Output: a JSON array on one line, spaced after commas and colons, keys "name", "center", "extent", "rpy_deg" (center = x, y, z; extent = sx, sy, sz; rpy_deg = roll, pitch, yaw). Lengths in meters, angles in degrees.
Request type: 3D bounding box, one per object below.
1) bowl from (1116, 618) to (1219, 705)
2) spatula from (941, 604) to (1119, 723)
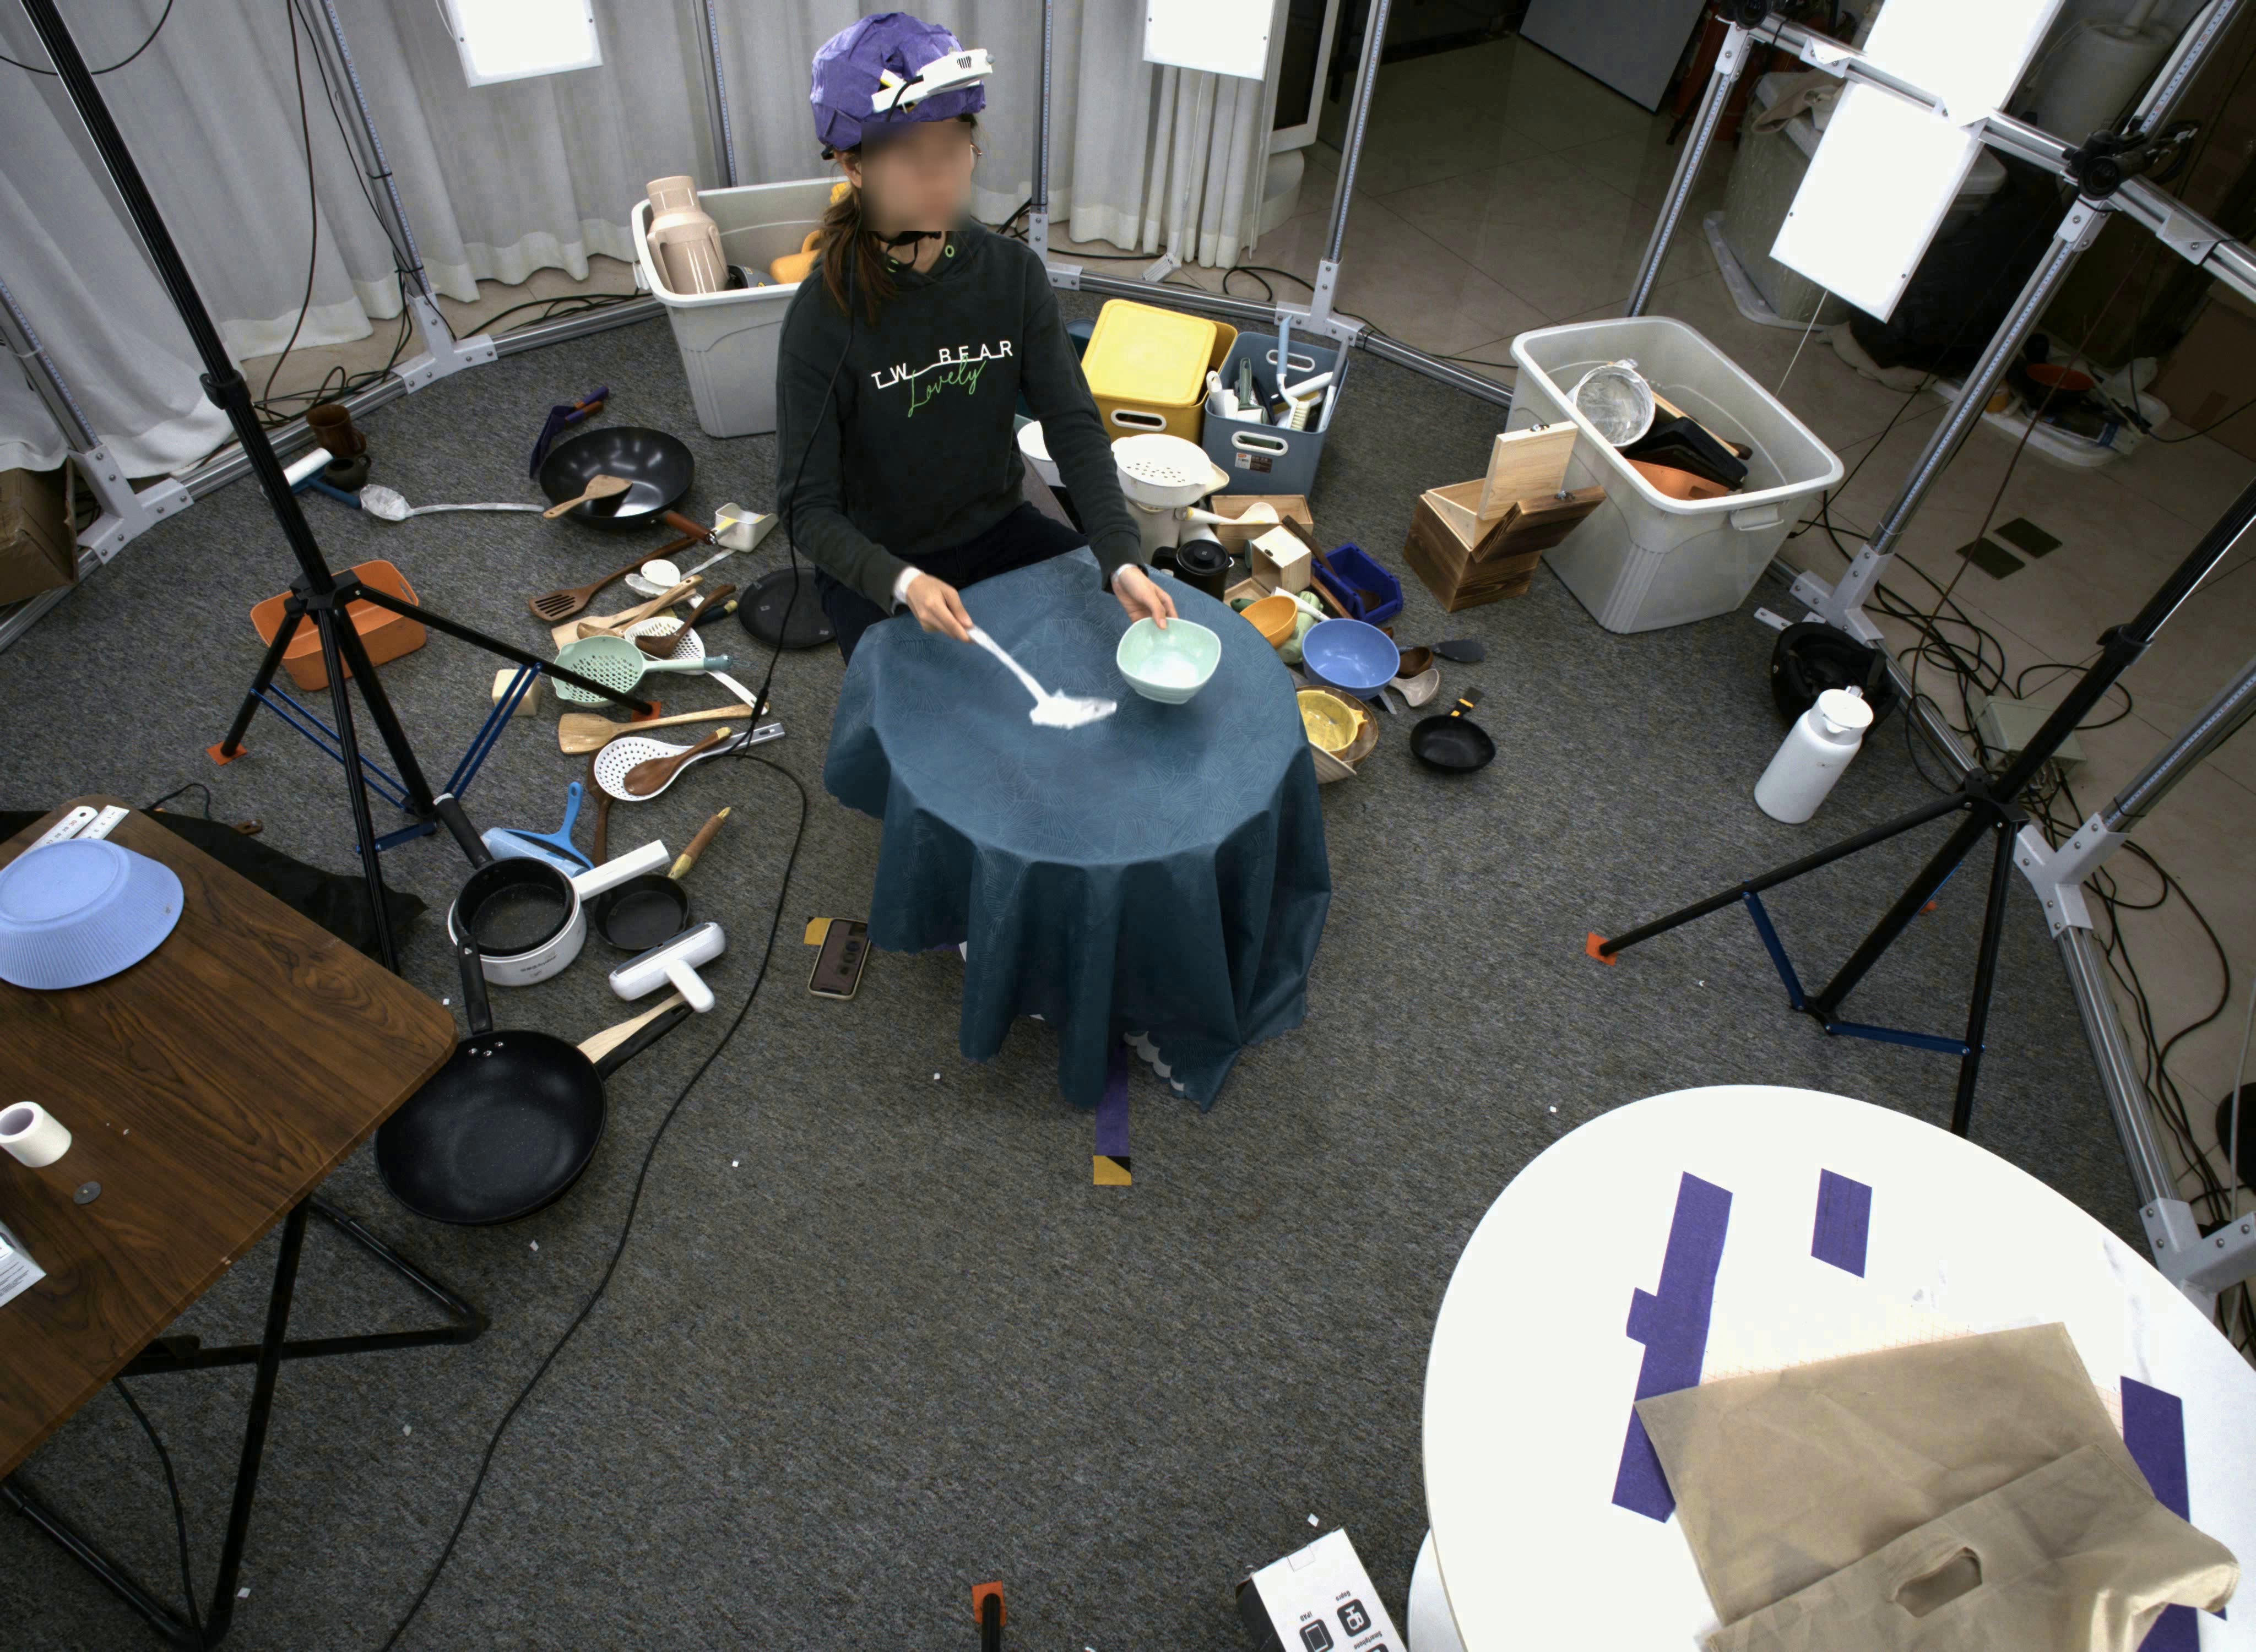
[{"name": "bowl", "center": [0.054, -0.221, 1.795], "extent": [0.151, 0.057, 0.155], "rpy_deg": [1, 49, -2]}, {"name": "spatula", "center": [-0.152, -0.224, 1.701], "extent": [0.099, 0.044, 0.372], "rpy_deg": [-24, 48, -30]}]
